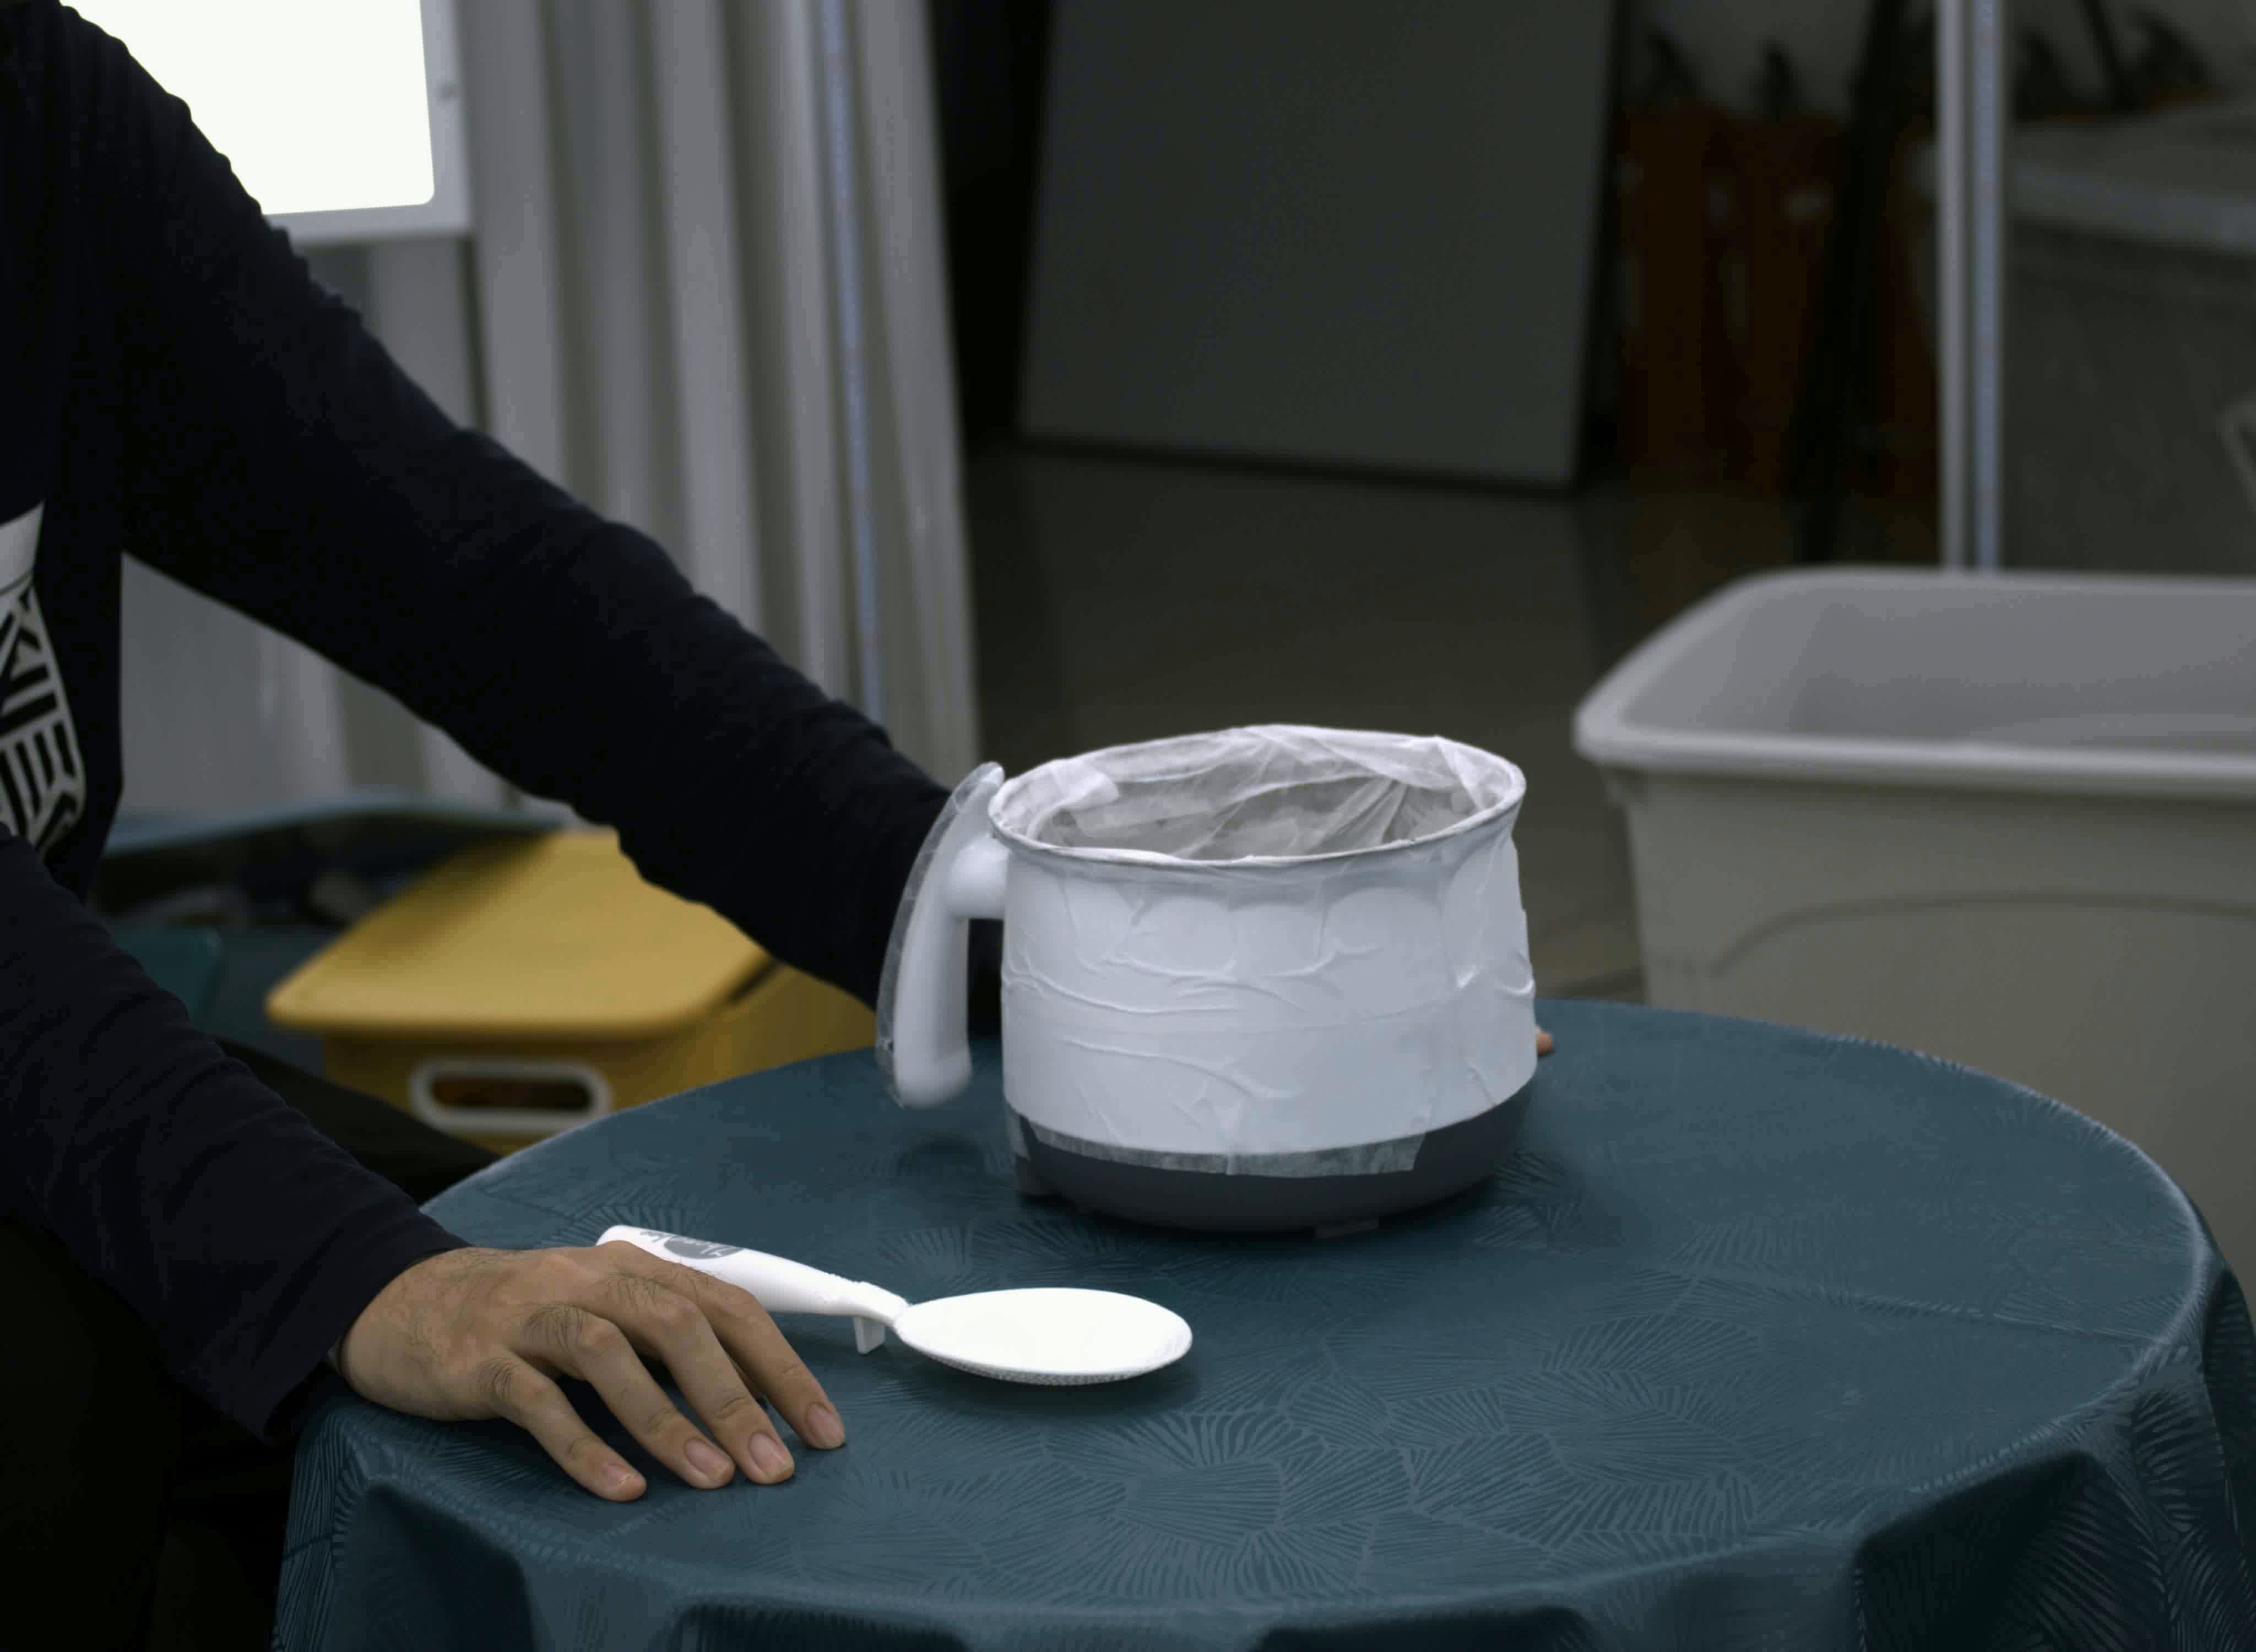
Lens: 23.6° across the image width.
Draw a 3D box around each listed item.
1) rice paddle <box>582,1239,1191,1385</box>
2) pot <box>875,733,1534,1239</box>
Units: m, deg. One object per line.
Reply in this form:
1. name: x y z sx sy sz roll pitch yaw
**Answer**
1. rice paddle: -0.073 0.147 1.631 0.206 0.030 0.068 3 17 30
2. pot: 0.020 0.049 1.775 0.234 0.138 0.176 3 13 26
